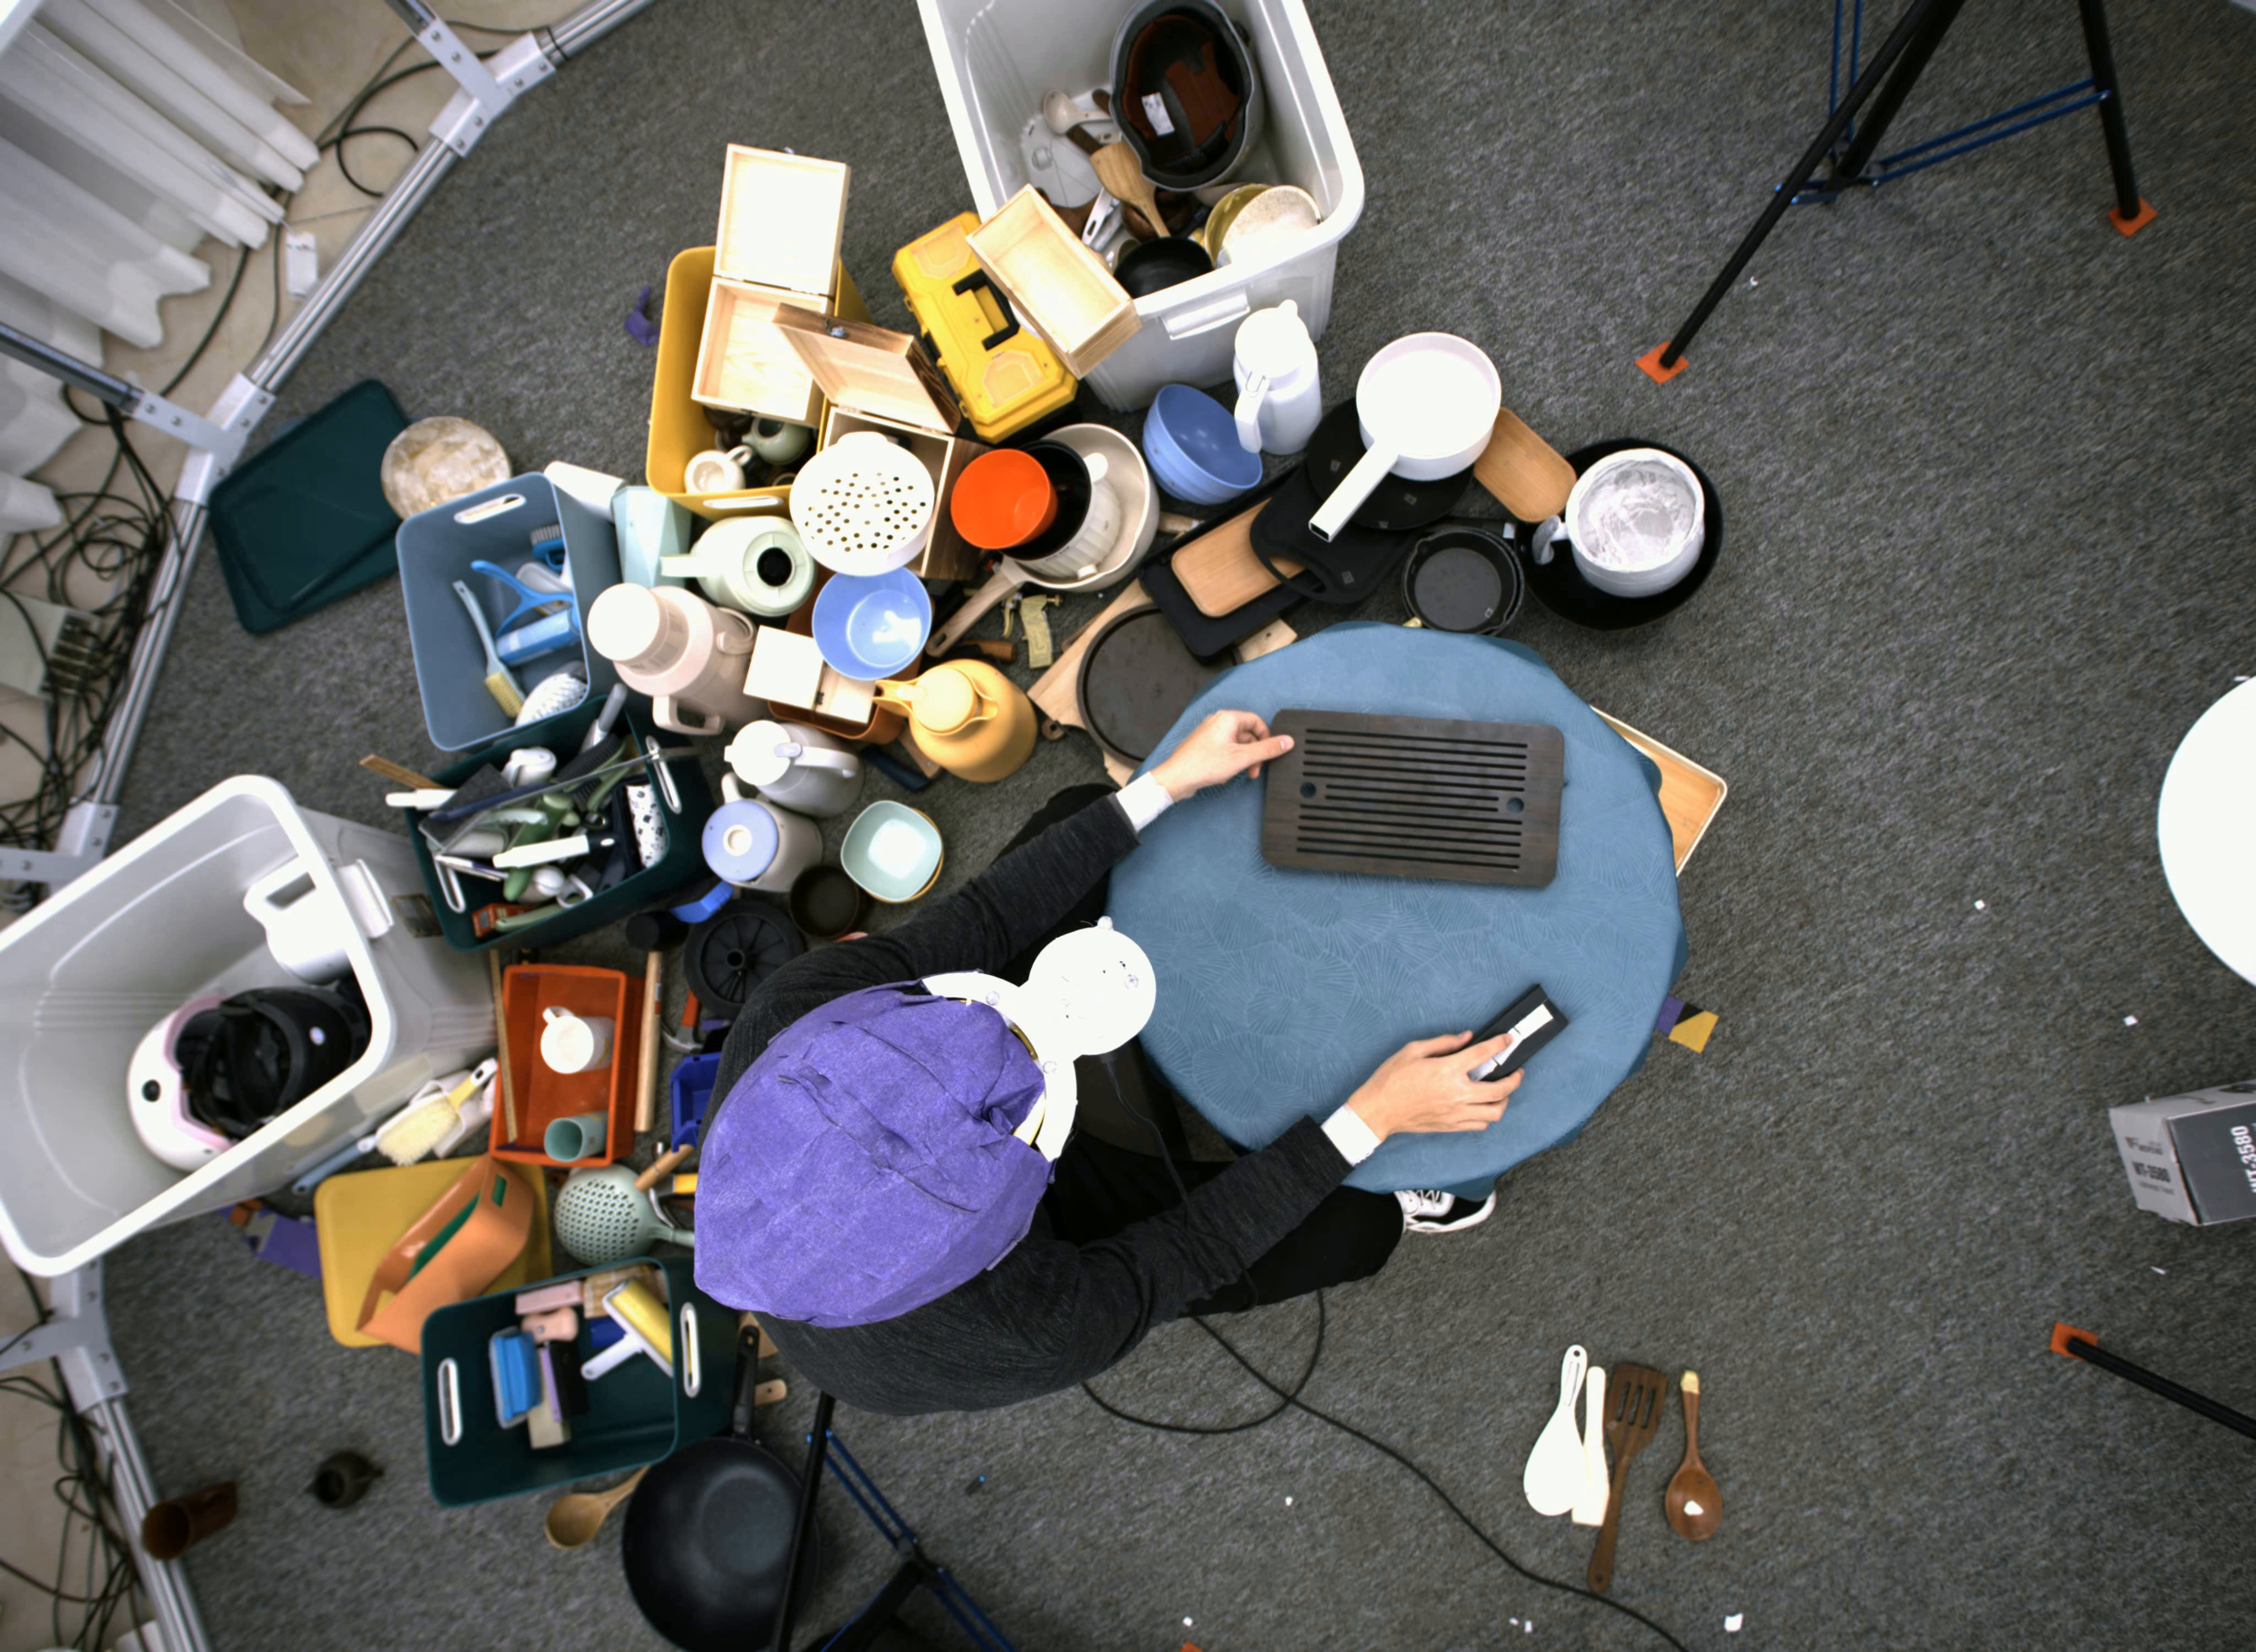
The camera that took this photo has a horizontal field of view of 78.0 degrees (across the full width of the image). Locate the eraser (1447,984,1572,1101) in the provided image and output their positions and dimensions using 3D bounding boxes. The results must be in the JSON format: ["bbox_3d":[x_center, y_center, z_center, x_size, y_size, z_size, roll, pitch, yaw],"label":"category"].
[{"bbox_3d":[0.391,0.219,1.415,0.126,0.030,0.053,-42,78,6],"label":"eraser"}]

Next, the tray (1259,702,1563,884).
[{"bbox_3d":[0.296,-0.037,1.448,0.307,0.018,0.169,5,88,9],"label":"tray"}]
